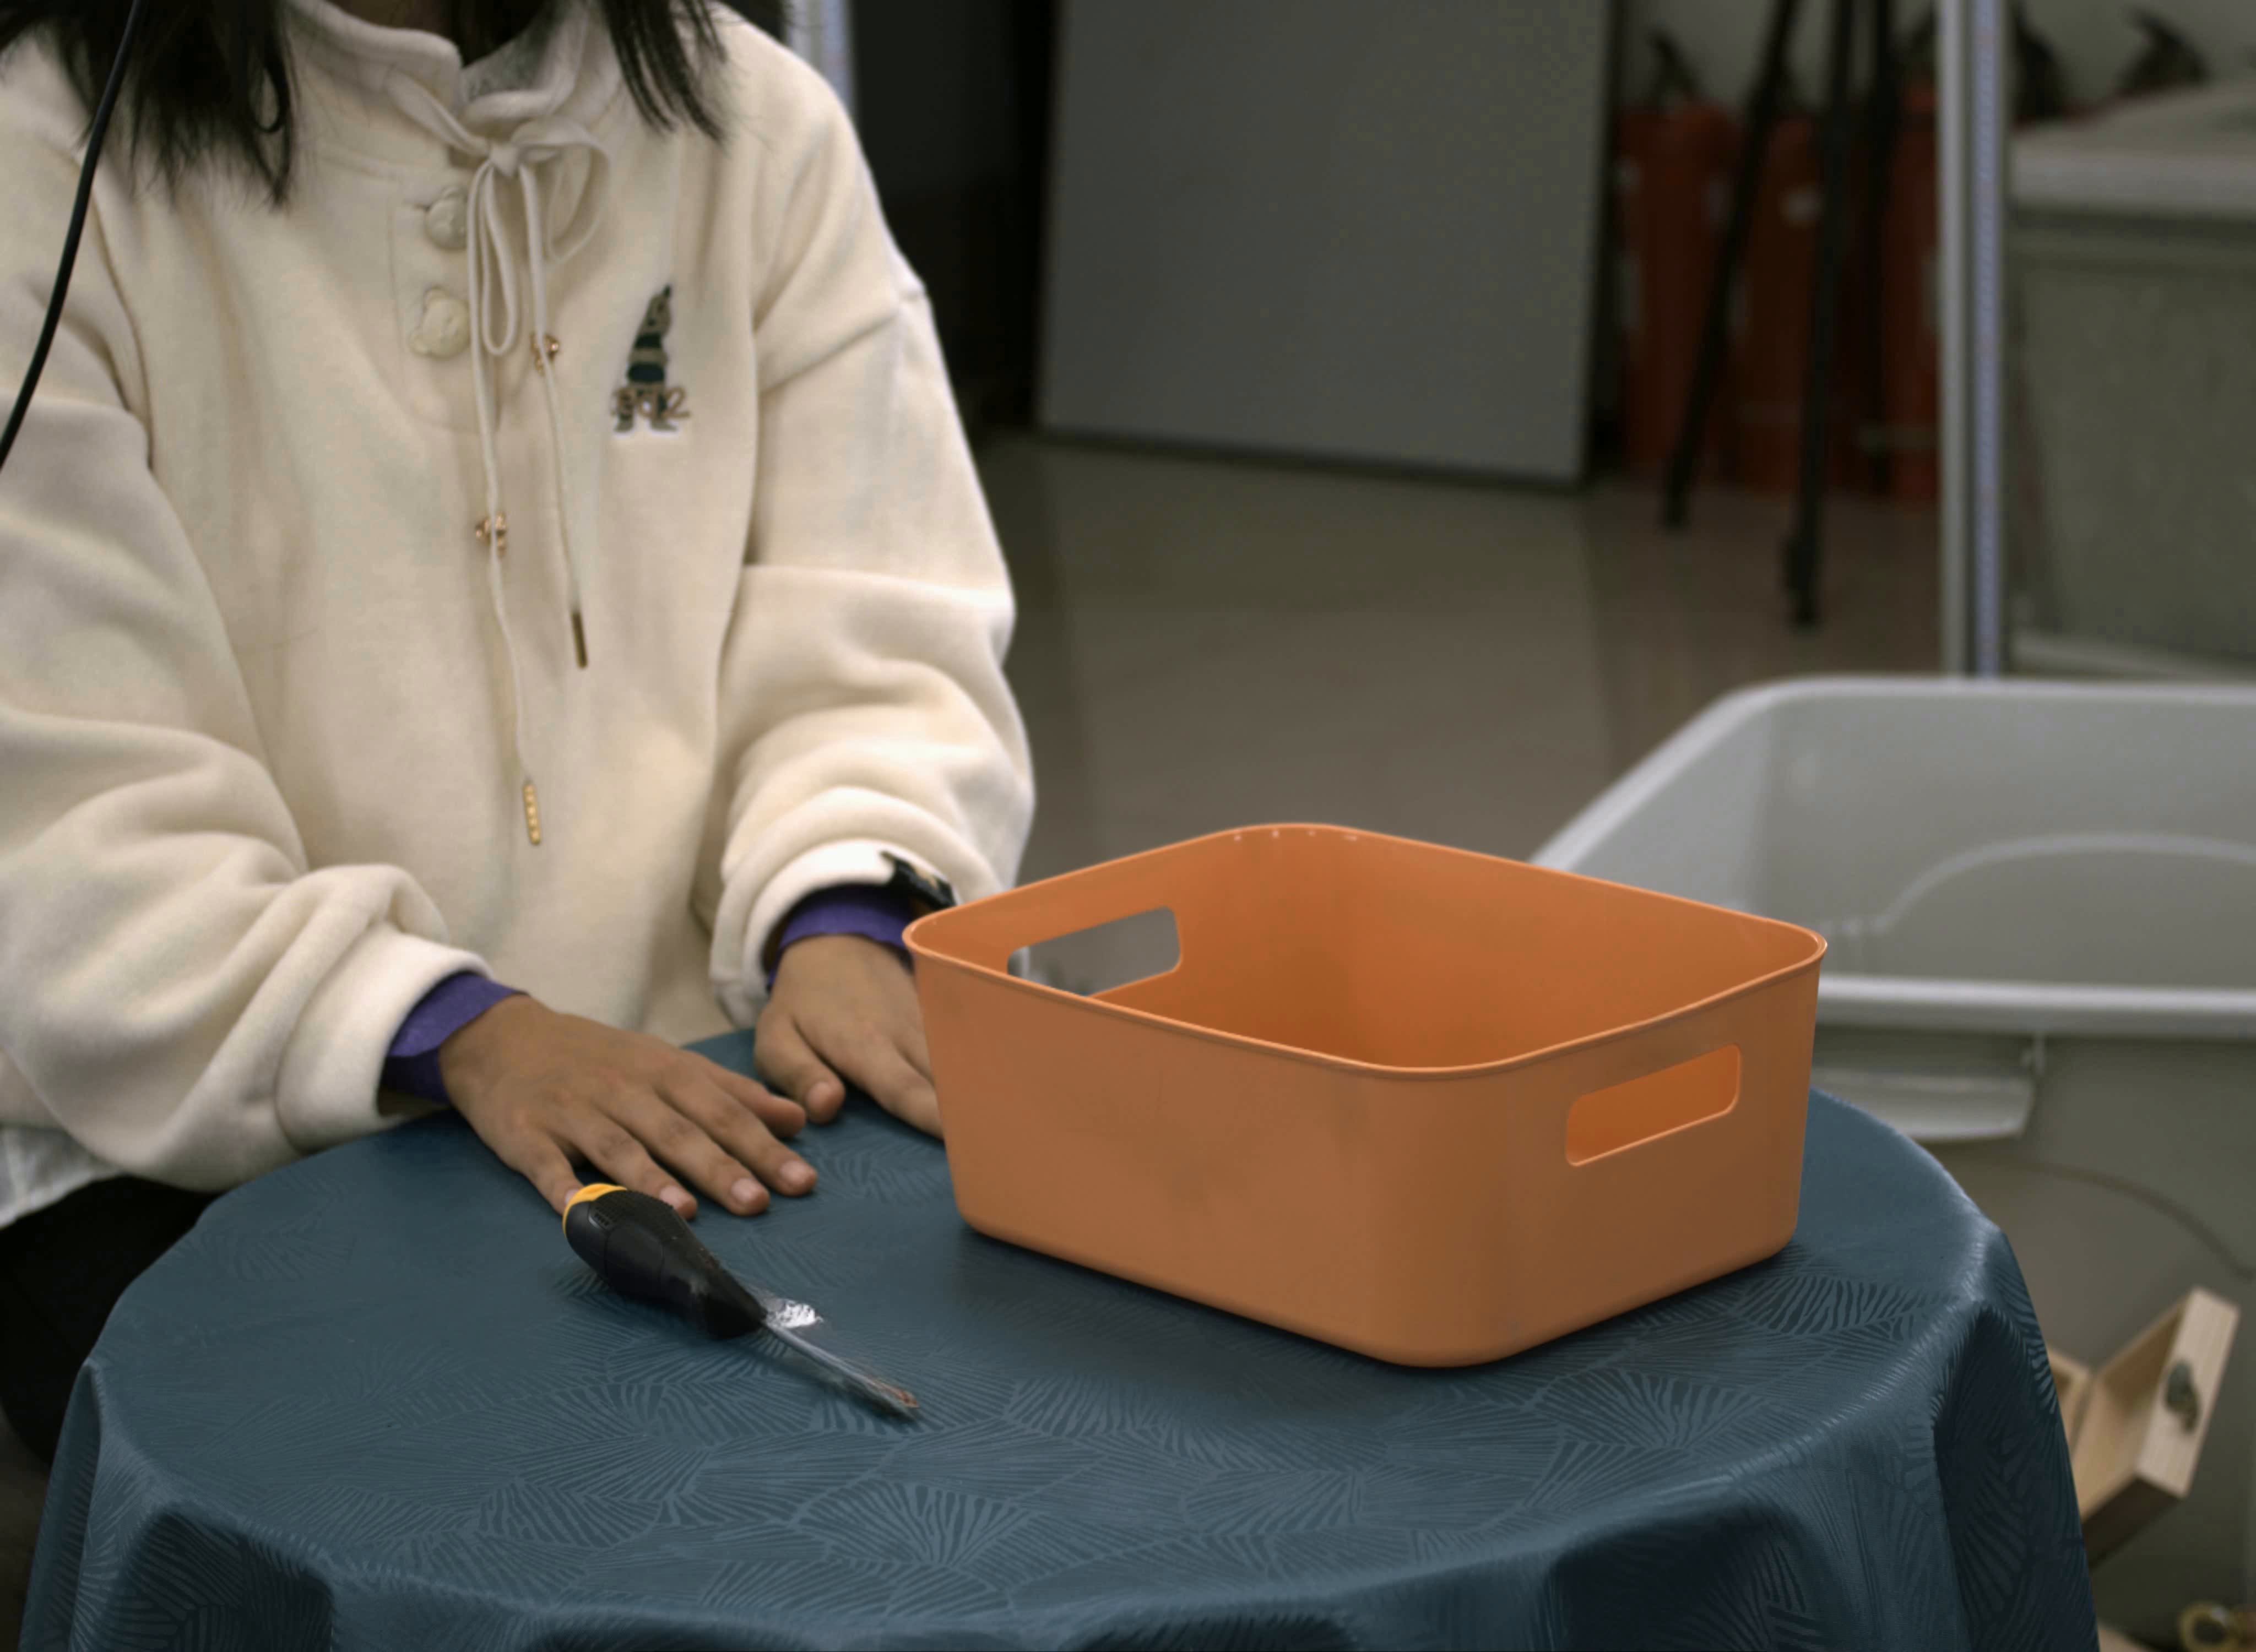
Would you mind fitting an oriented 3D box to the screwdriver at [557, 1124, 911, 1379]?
[{"bbox_3d":[-0.117,0.133,1.660,0.031,0.032,0.200,-13,25,-35],"label":"screwdriver"}]

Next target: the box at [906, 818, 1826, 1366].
[{"bbox_3d":[0.075,0.080,1.695,0.195,0.103,0.276,-16,18,-38],"label":"box"}]
